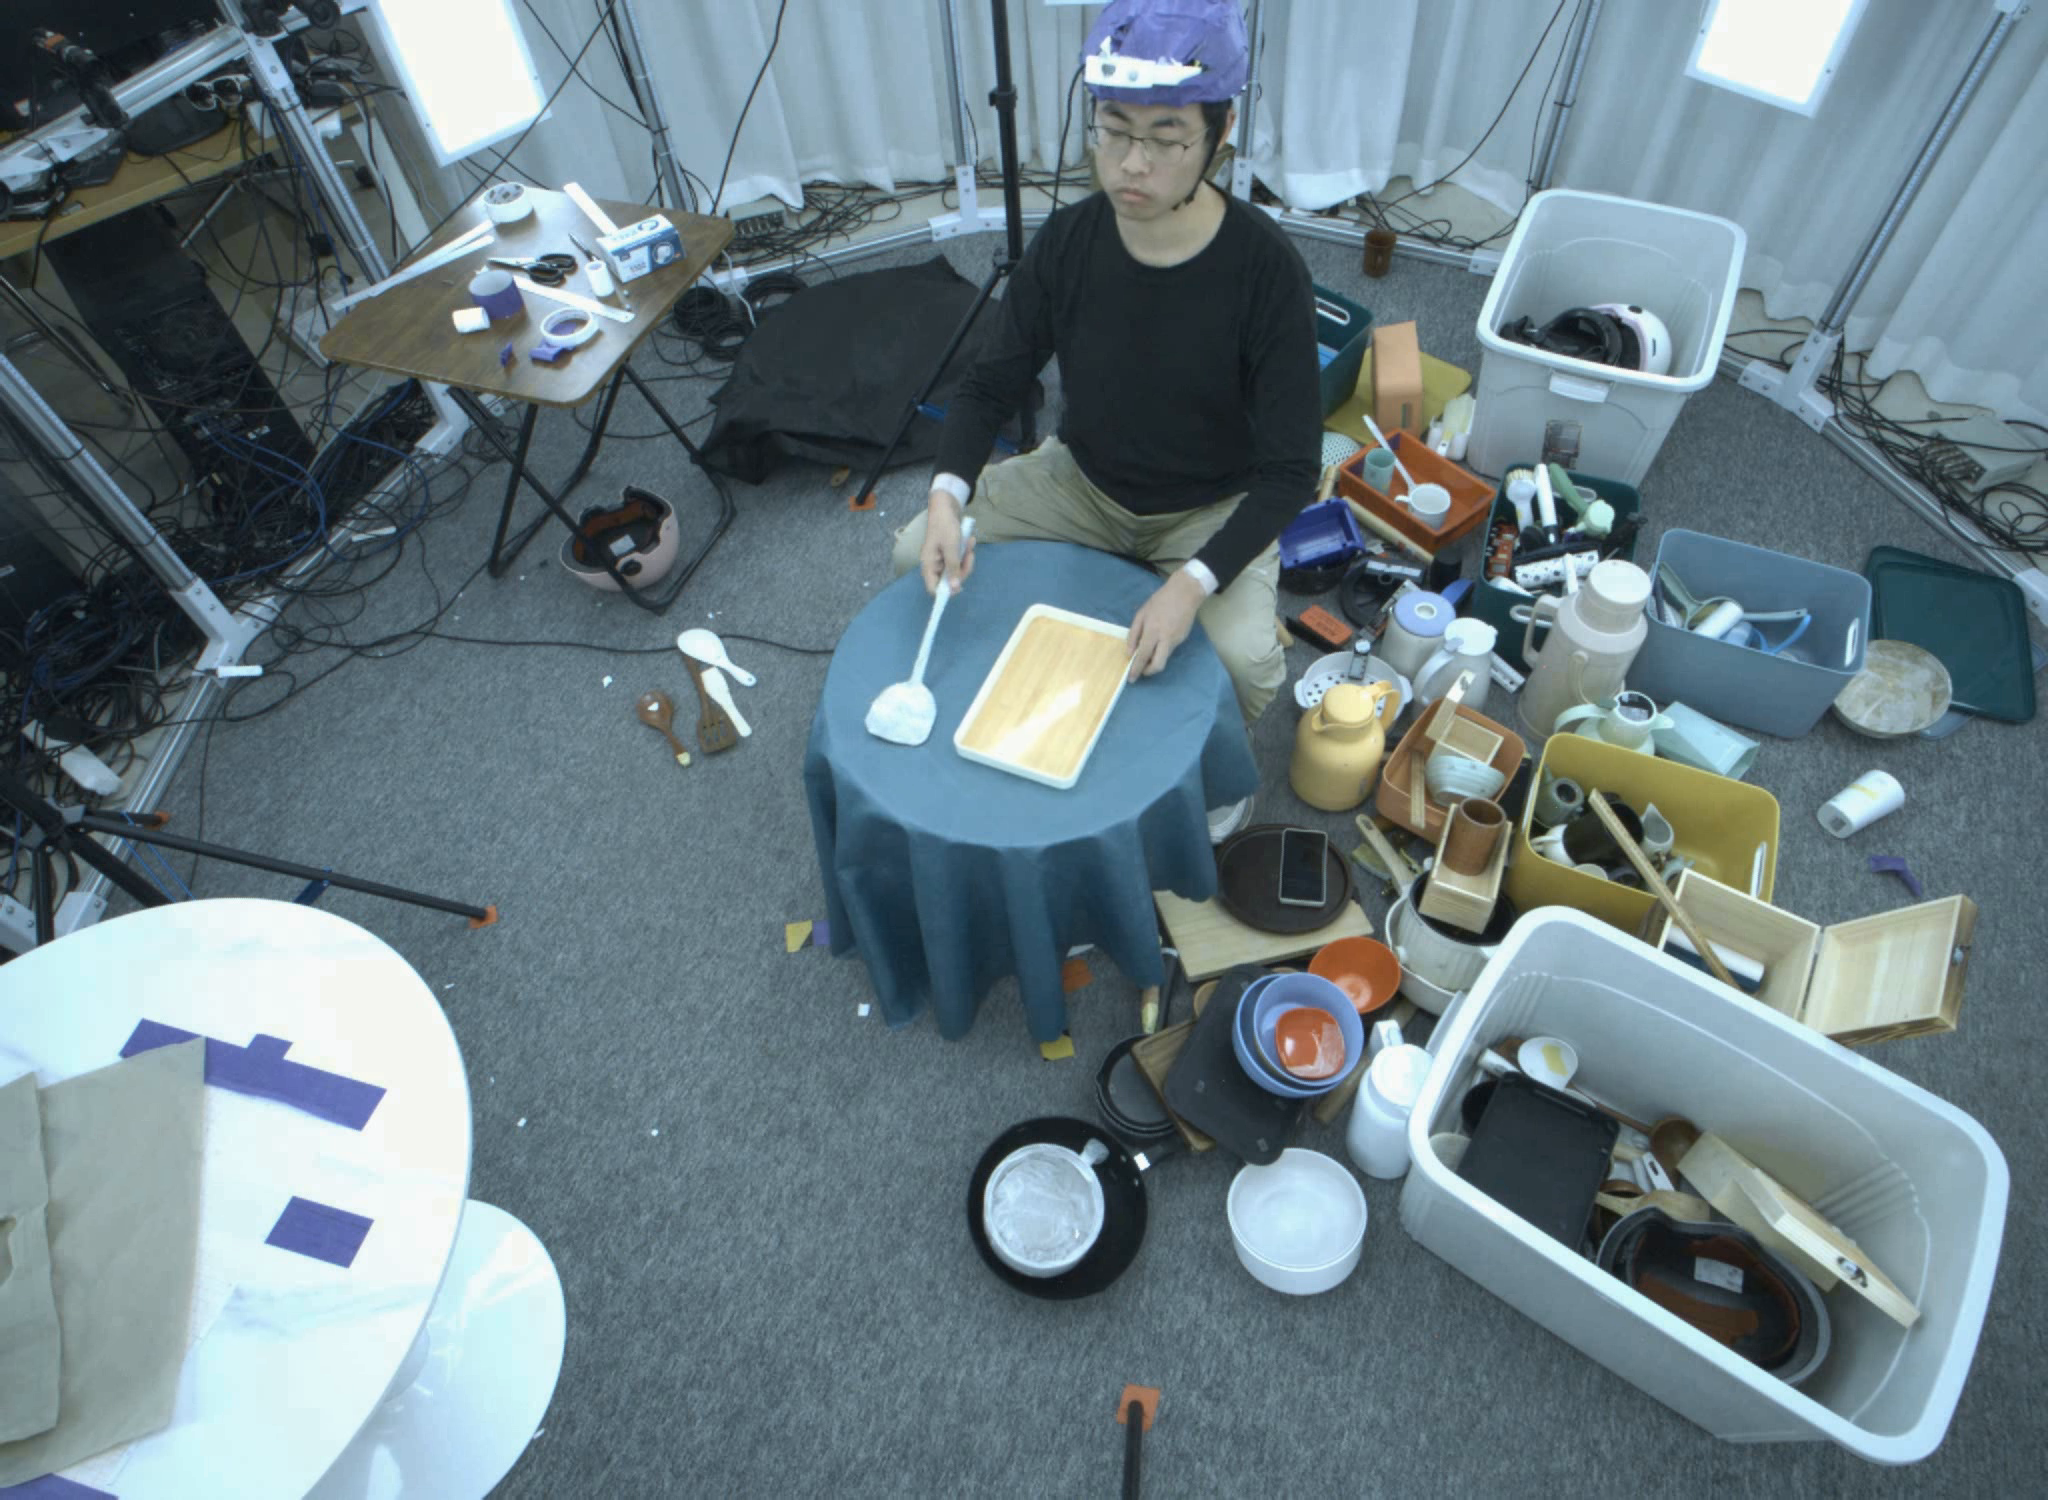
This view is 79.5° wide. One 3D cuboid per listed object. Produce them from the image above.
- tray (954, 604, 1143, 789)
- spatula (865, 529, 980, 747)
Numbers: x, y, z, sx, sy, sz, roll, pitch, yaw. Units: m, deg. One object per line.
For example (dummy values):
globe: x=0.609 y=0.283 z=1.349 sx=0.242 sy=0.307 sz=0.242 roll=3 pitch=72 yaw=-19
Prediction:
tray: x=0.041 y=-0.086 z=1.830 sx=0.189 sy=0.028 sz=0.300 roll=19 pitch=58 yaw=15
spatula: x=-0.137 y=-0.177 z=1.836 sx=0.098 sy=0.045 sz=0.364 roll=18 pitch=82 yaw=5
